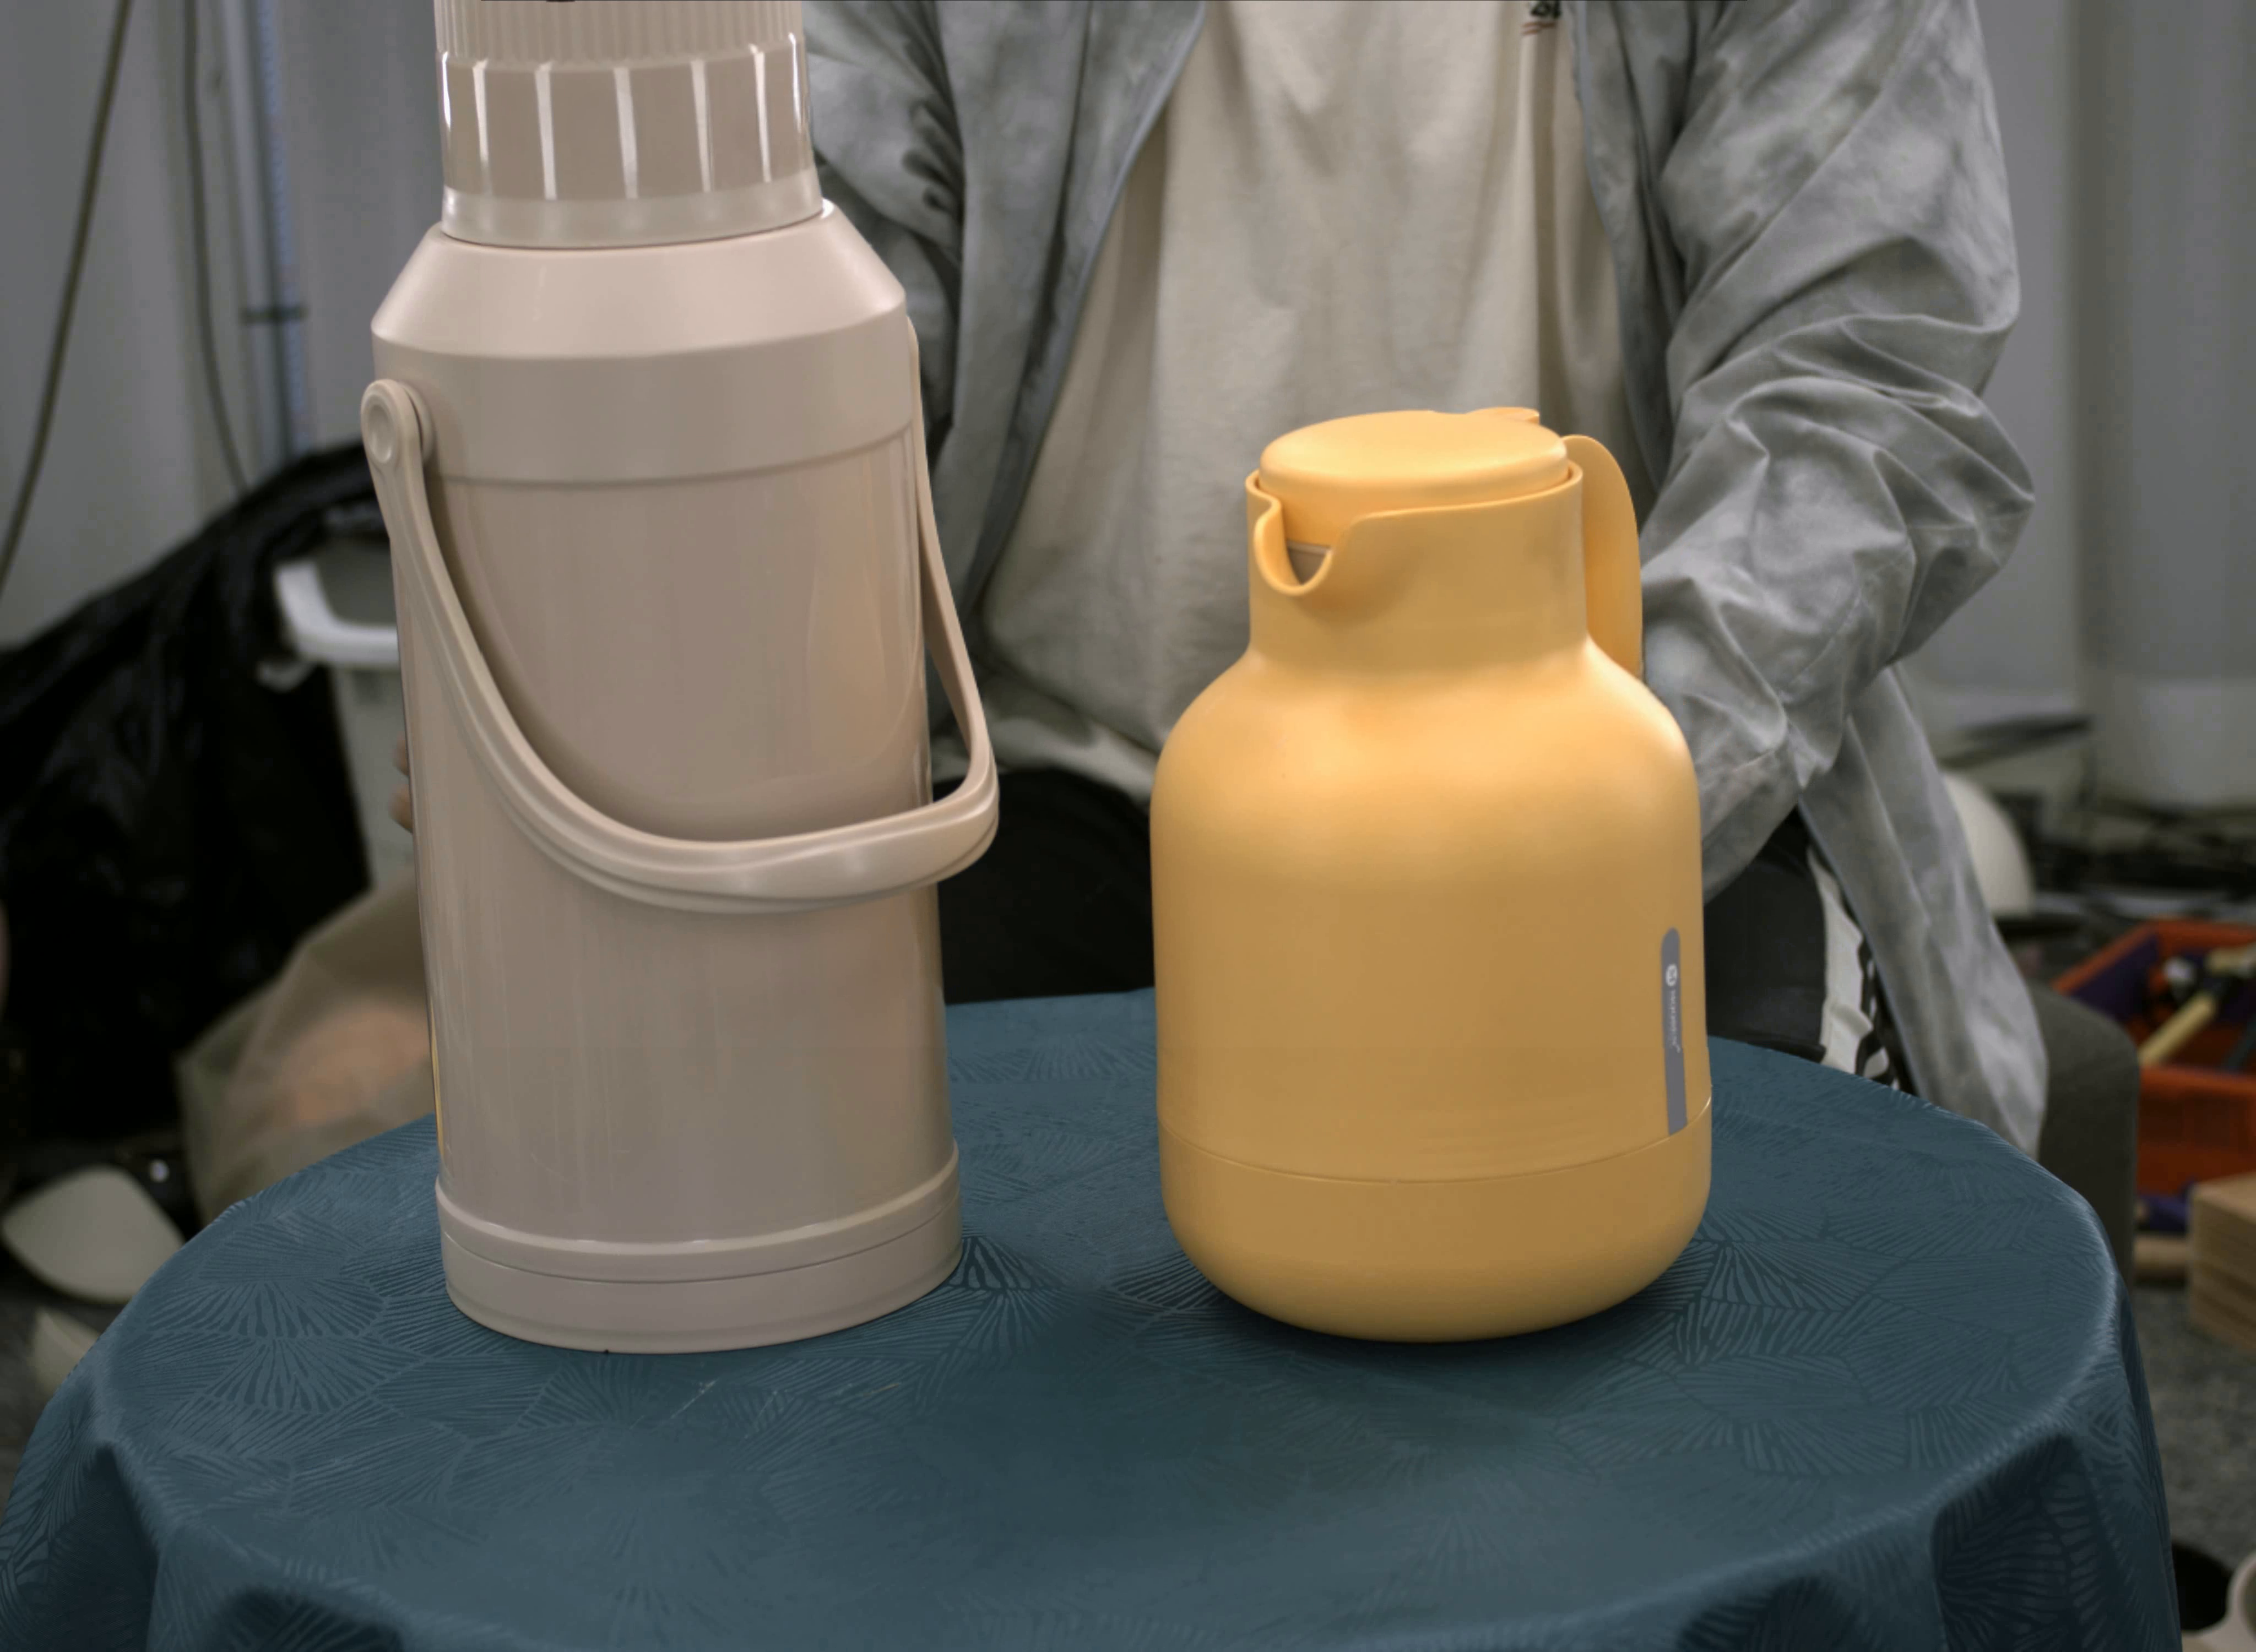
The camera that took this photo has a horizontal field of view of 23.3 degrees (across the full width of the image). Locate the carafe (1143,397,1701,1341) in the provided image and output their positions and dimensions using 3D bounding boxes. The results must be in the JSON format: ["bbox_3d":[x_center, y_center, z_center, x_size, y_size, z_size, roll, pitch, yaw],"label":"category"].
[{"bbox_3d":[0.096,0.005,1.610,0.164,0.259,0.202,9,20,32],"label":"carafe"}]

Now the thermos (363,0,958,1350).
[{"bbox_3d":[-0.145,-0.061,1.638,0.175,0.404,0.208,-13,17,-33],"label":"thermos"}]
